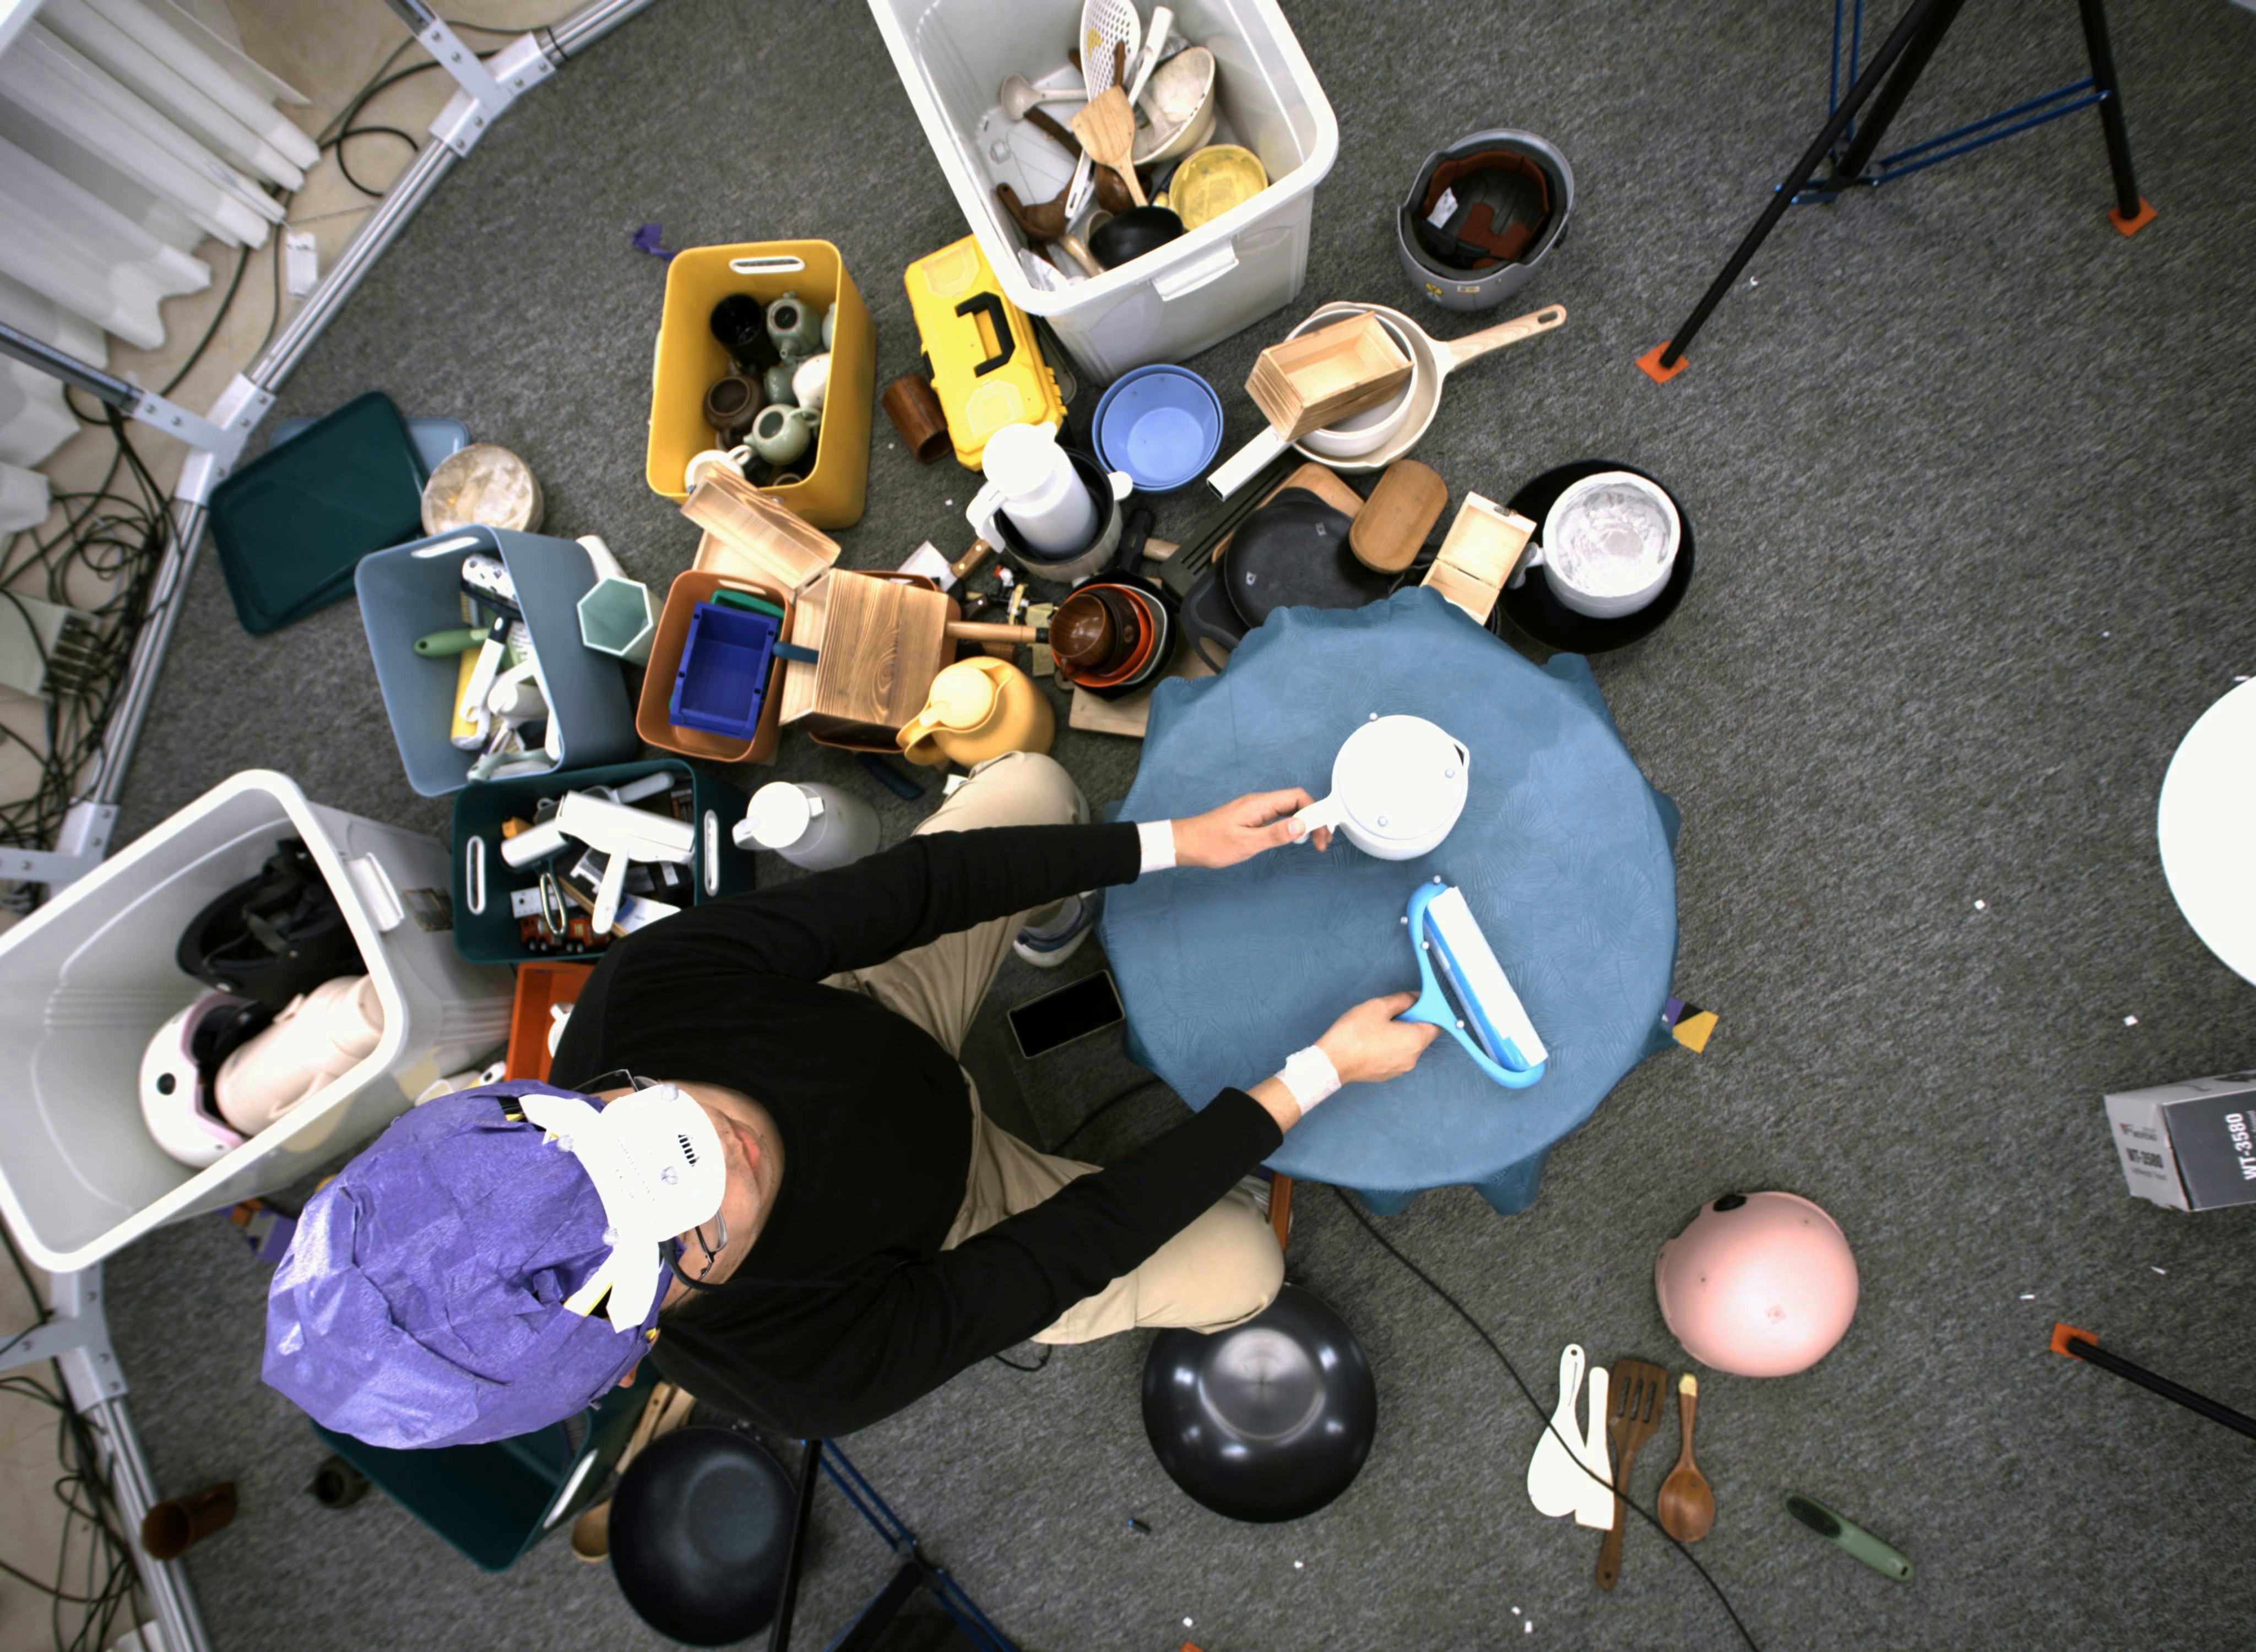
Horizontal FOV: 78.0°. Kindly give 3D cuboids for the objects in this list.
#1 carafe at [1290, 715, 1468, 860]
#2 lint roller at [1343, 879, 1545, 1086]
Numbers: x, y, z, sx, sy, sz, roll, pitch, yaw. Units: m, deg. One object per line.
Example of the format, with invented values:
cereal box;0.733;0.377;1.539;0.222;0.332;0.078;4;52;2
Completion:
carafe;0.249;-0.028;1.382;0.192;0.182;0.131;-25;81;10
lint roller;0.307;0.184;1.409;0.180;0.068;0.228;-28;85;-5
